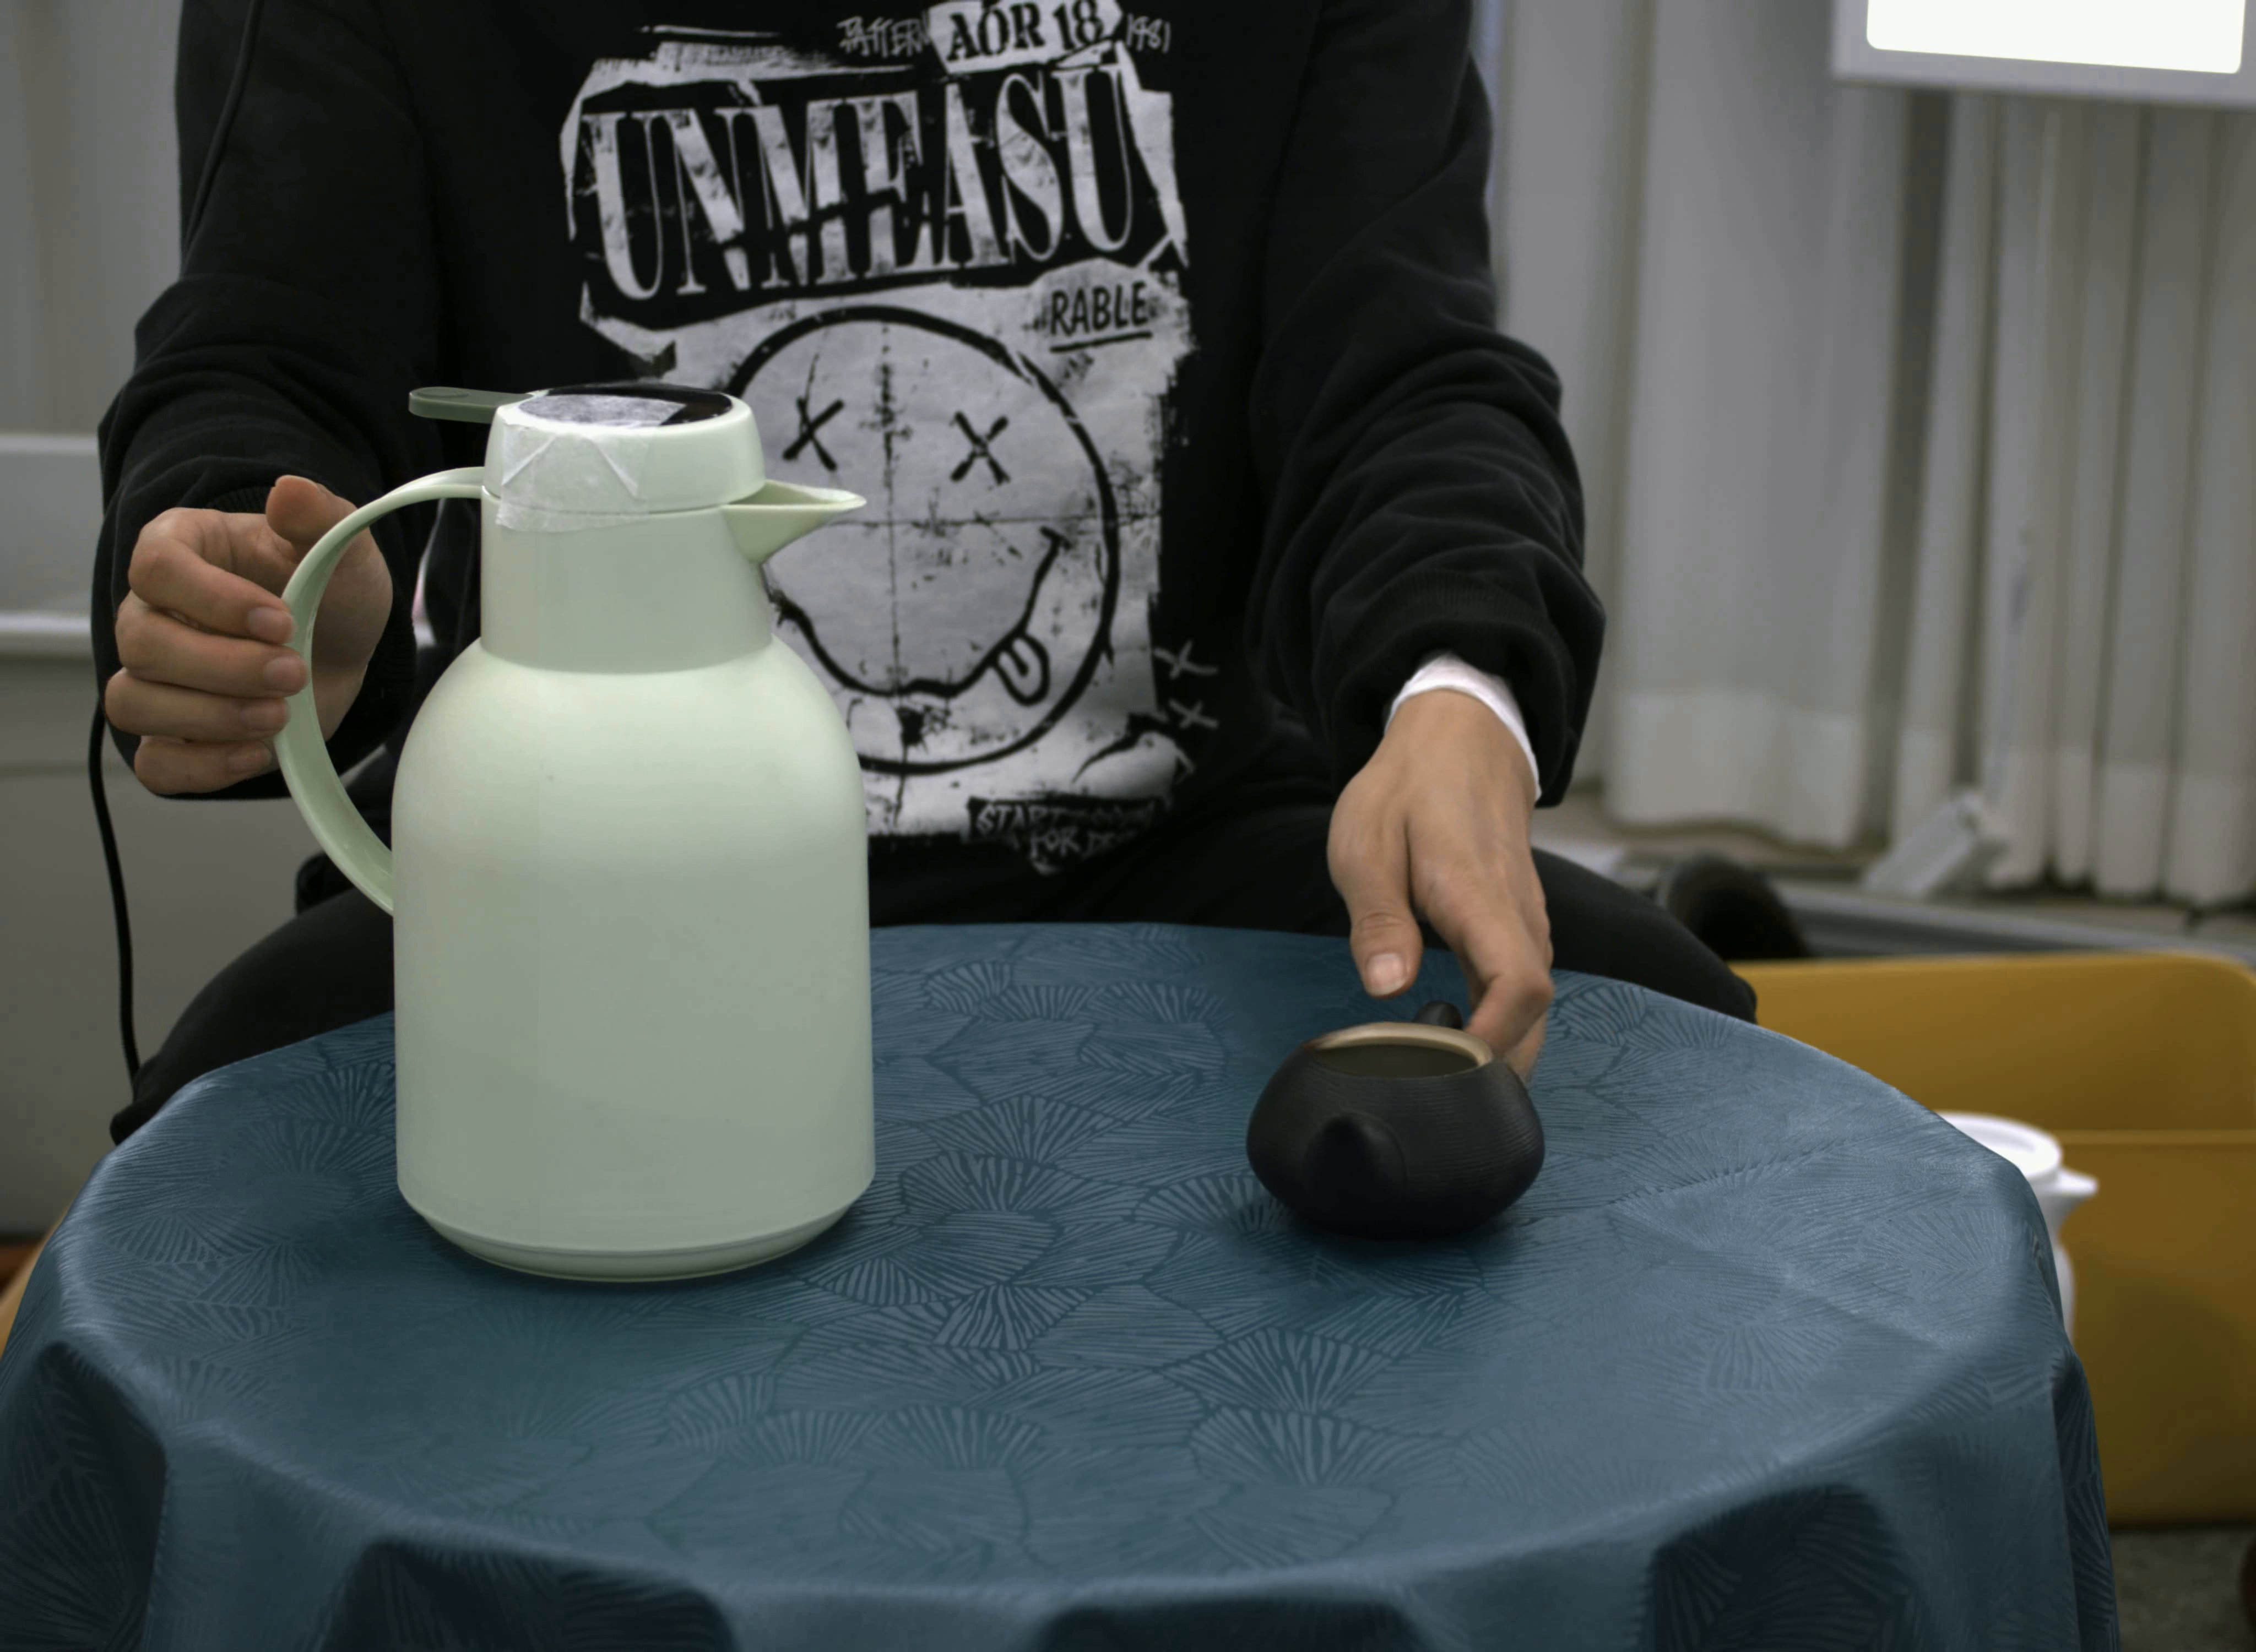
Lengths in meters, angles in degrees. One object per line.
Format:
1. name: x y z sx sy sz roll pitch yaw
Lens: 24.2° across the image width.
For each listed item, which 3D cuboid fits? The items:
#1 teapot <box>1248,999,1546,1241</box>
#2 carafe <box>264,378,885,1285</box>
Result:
1. teapot: 0.082 0.092 1.597 0.090 0.053 0.133 7 17 17
2. carafe: -0.161 -0.003 1.566 0.185 0.259 0.144 1 17 14
